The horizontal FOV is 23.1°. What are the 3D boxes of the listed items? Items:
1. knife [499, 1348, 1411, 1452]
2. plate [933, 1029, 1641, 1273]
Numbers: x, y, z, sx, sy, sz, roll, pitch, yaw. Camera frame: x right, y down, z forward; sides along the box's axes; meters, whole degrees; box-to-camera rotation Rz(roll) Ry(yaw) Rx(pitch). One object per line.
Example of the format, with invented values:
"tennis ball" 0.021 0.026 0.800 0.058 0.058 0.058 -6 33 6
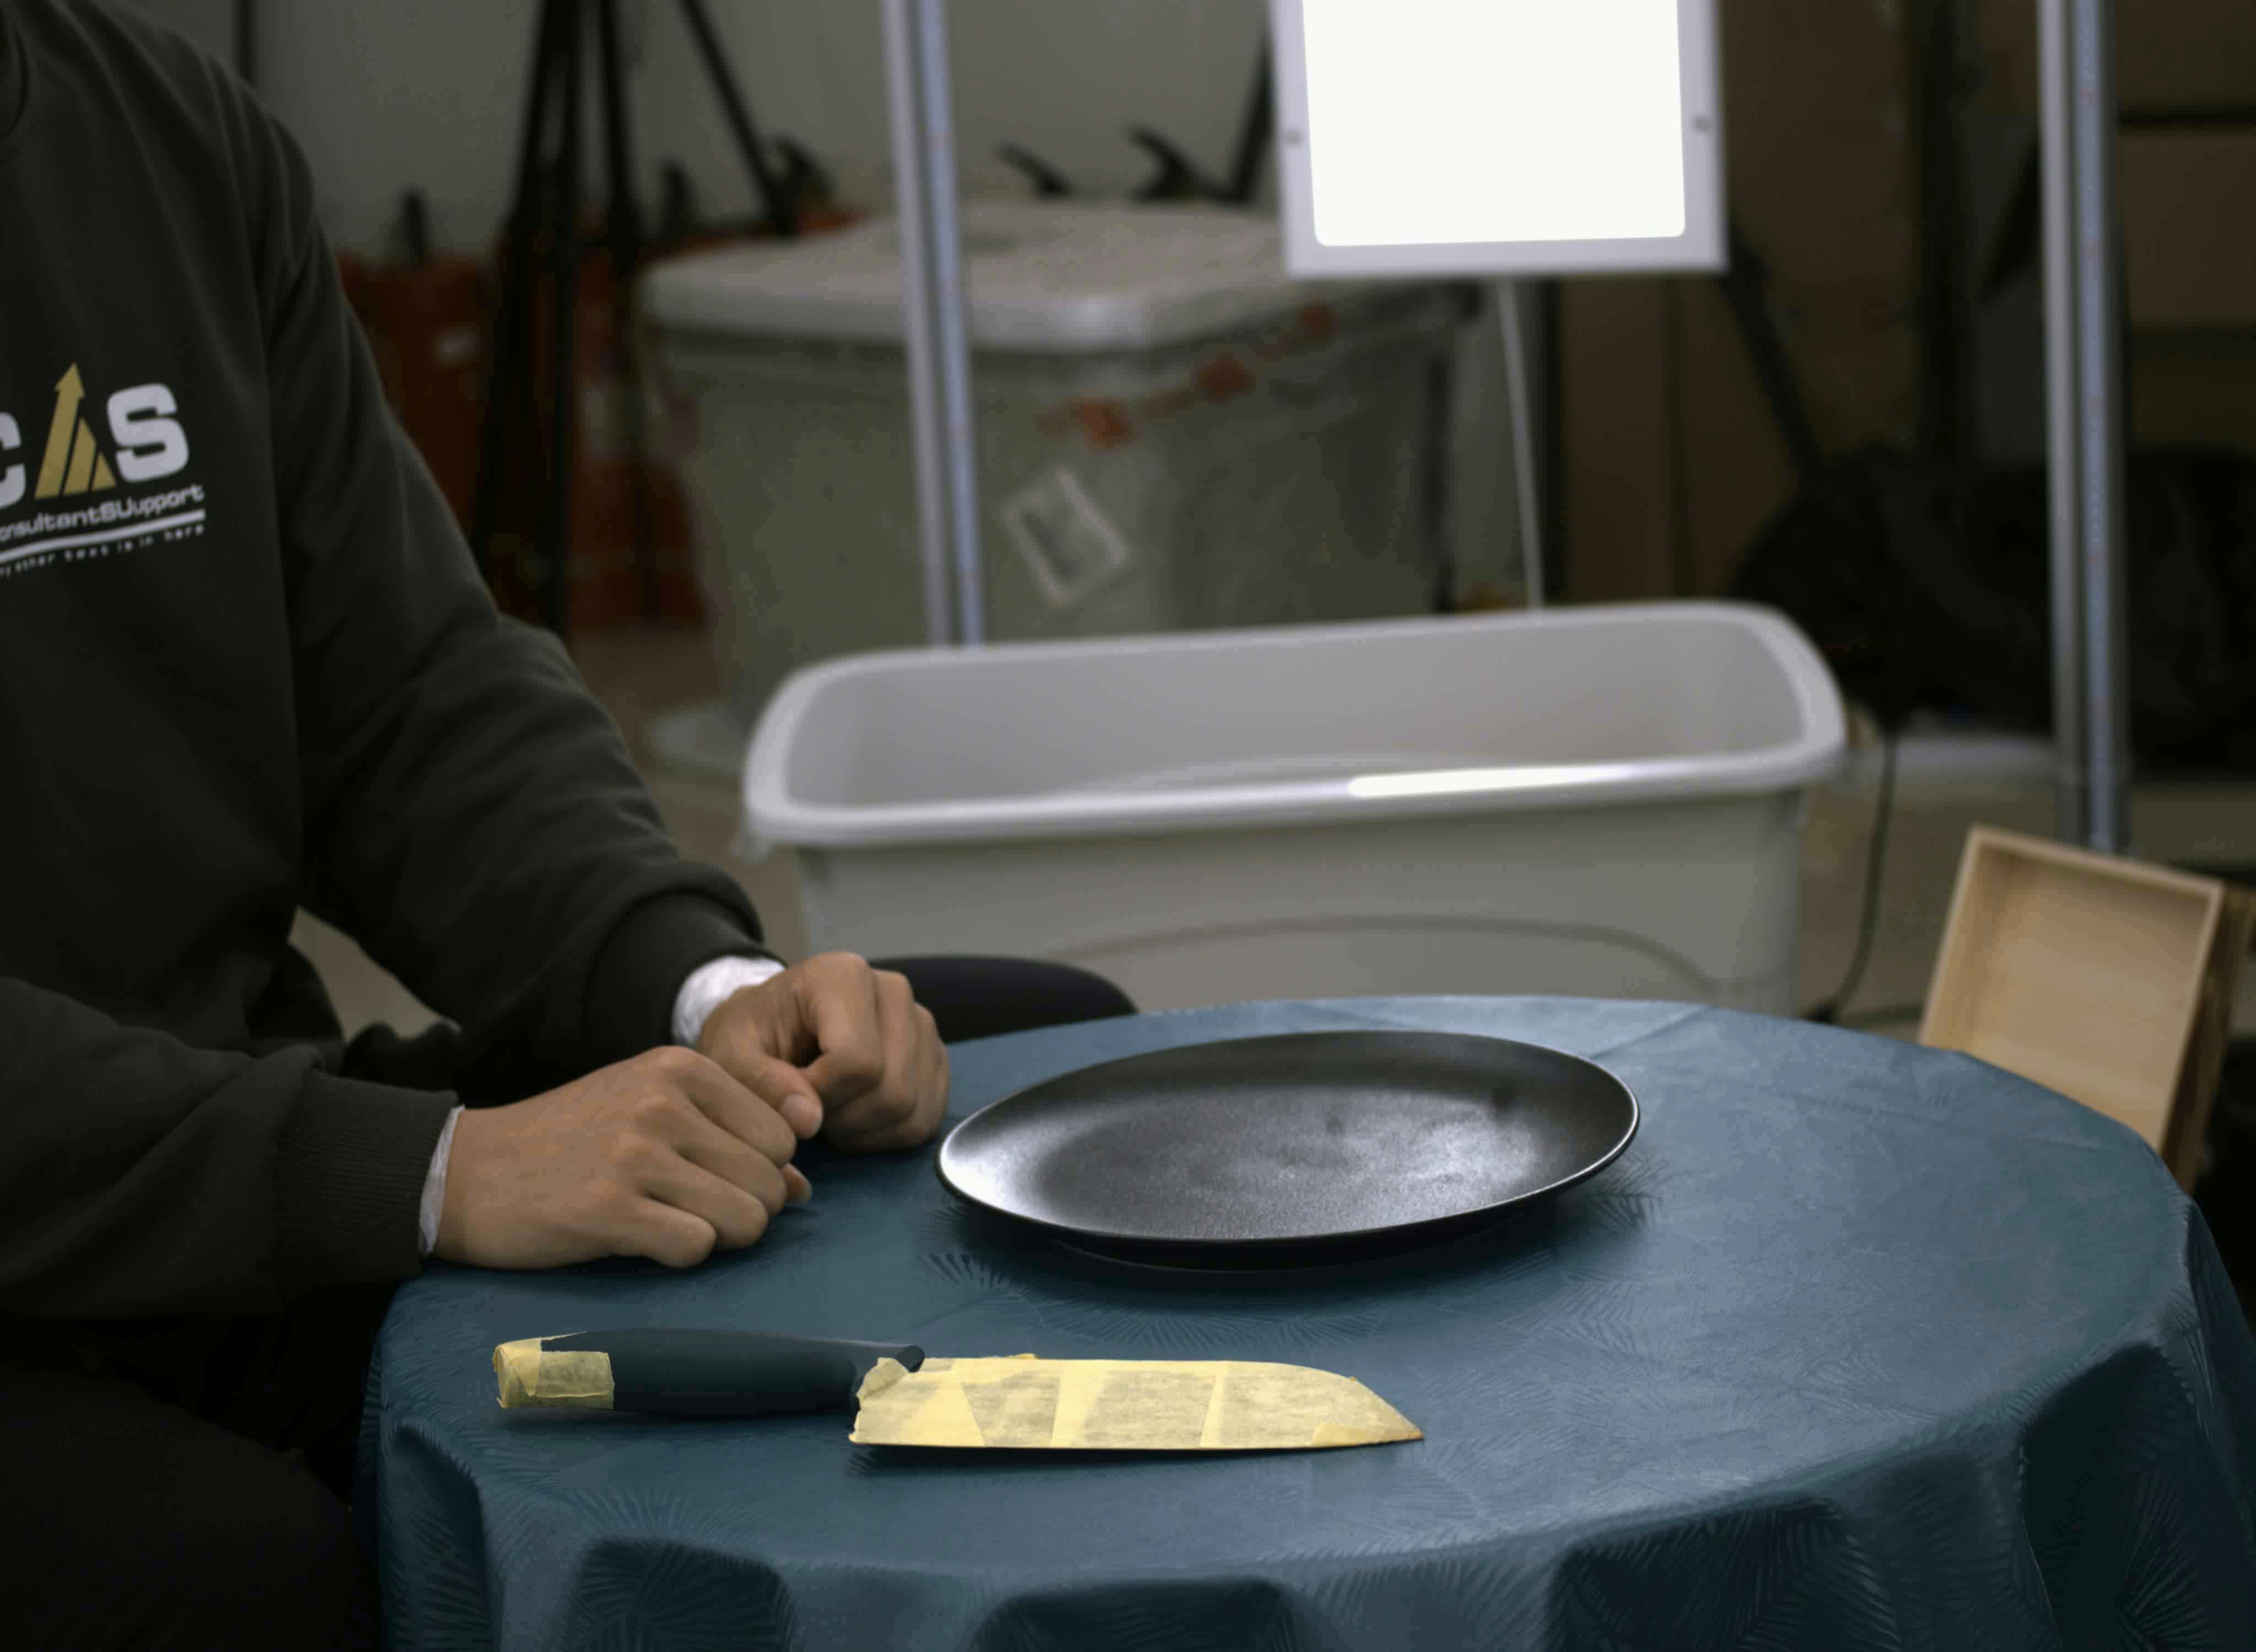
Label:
"knife" -0.056 0.177 1.685 0.291 0.027 0.080 -1 13 12
"plate" 0.055 0.114 1.886 0.244 0.023 0.244 -5 14 0
